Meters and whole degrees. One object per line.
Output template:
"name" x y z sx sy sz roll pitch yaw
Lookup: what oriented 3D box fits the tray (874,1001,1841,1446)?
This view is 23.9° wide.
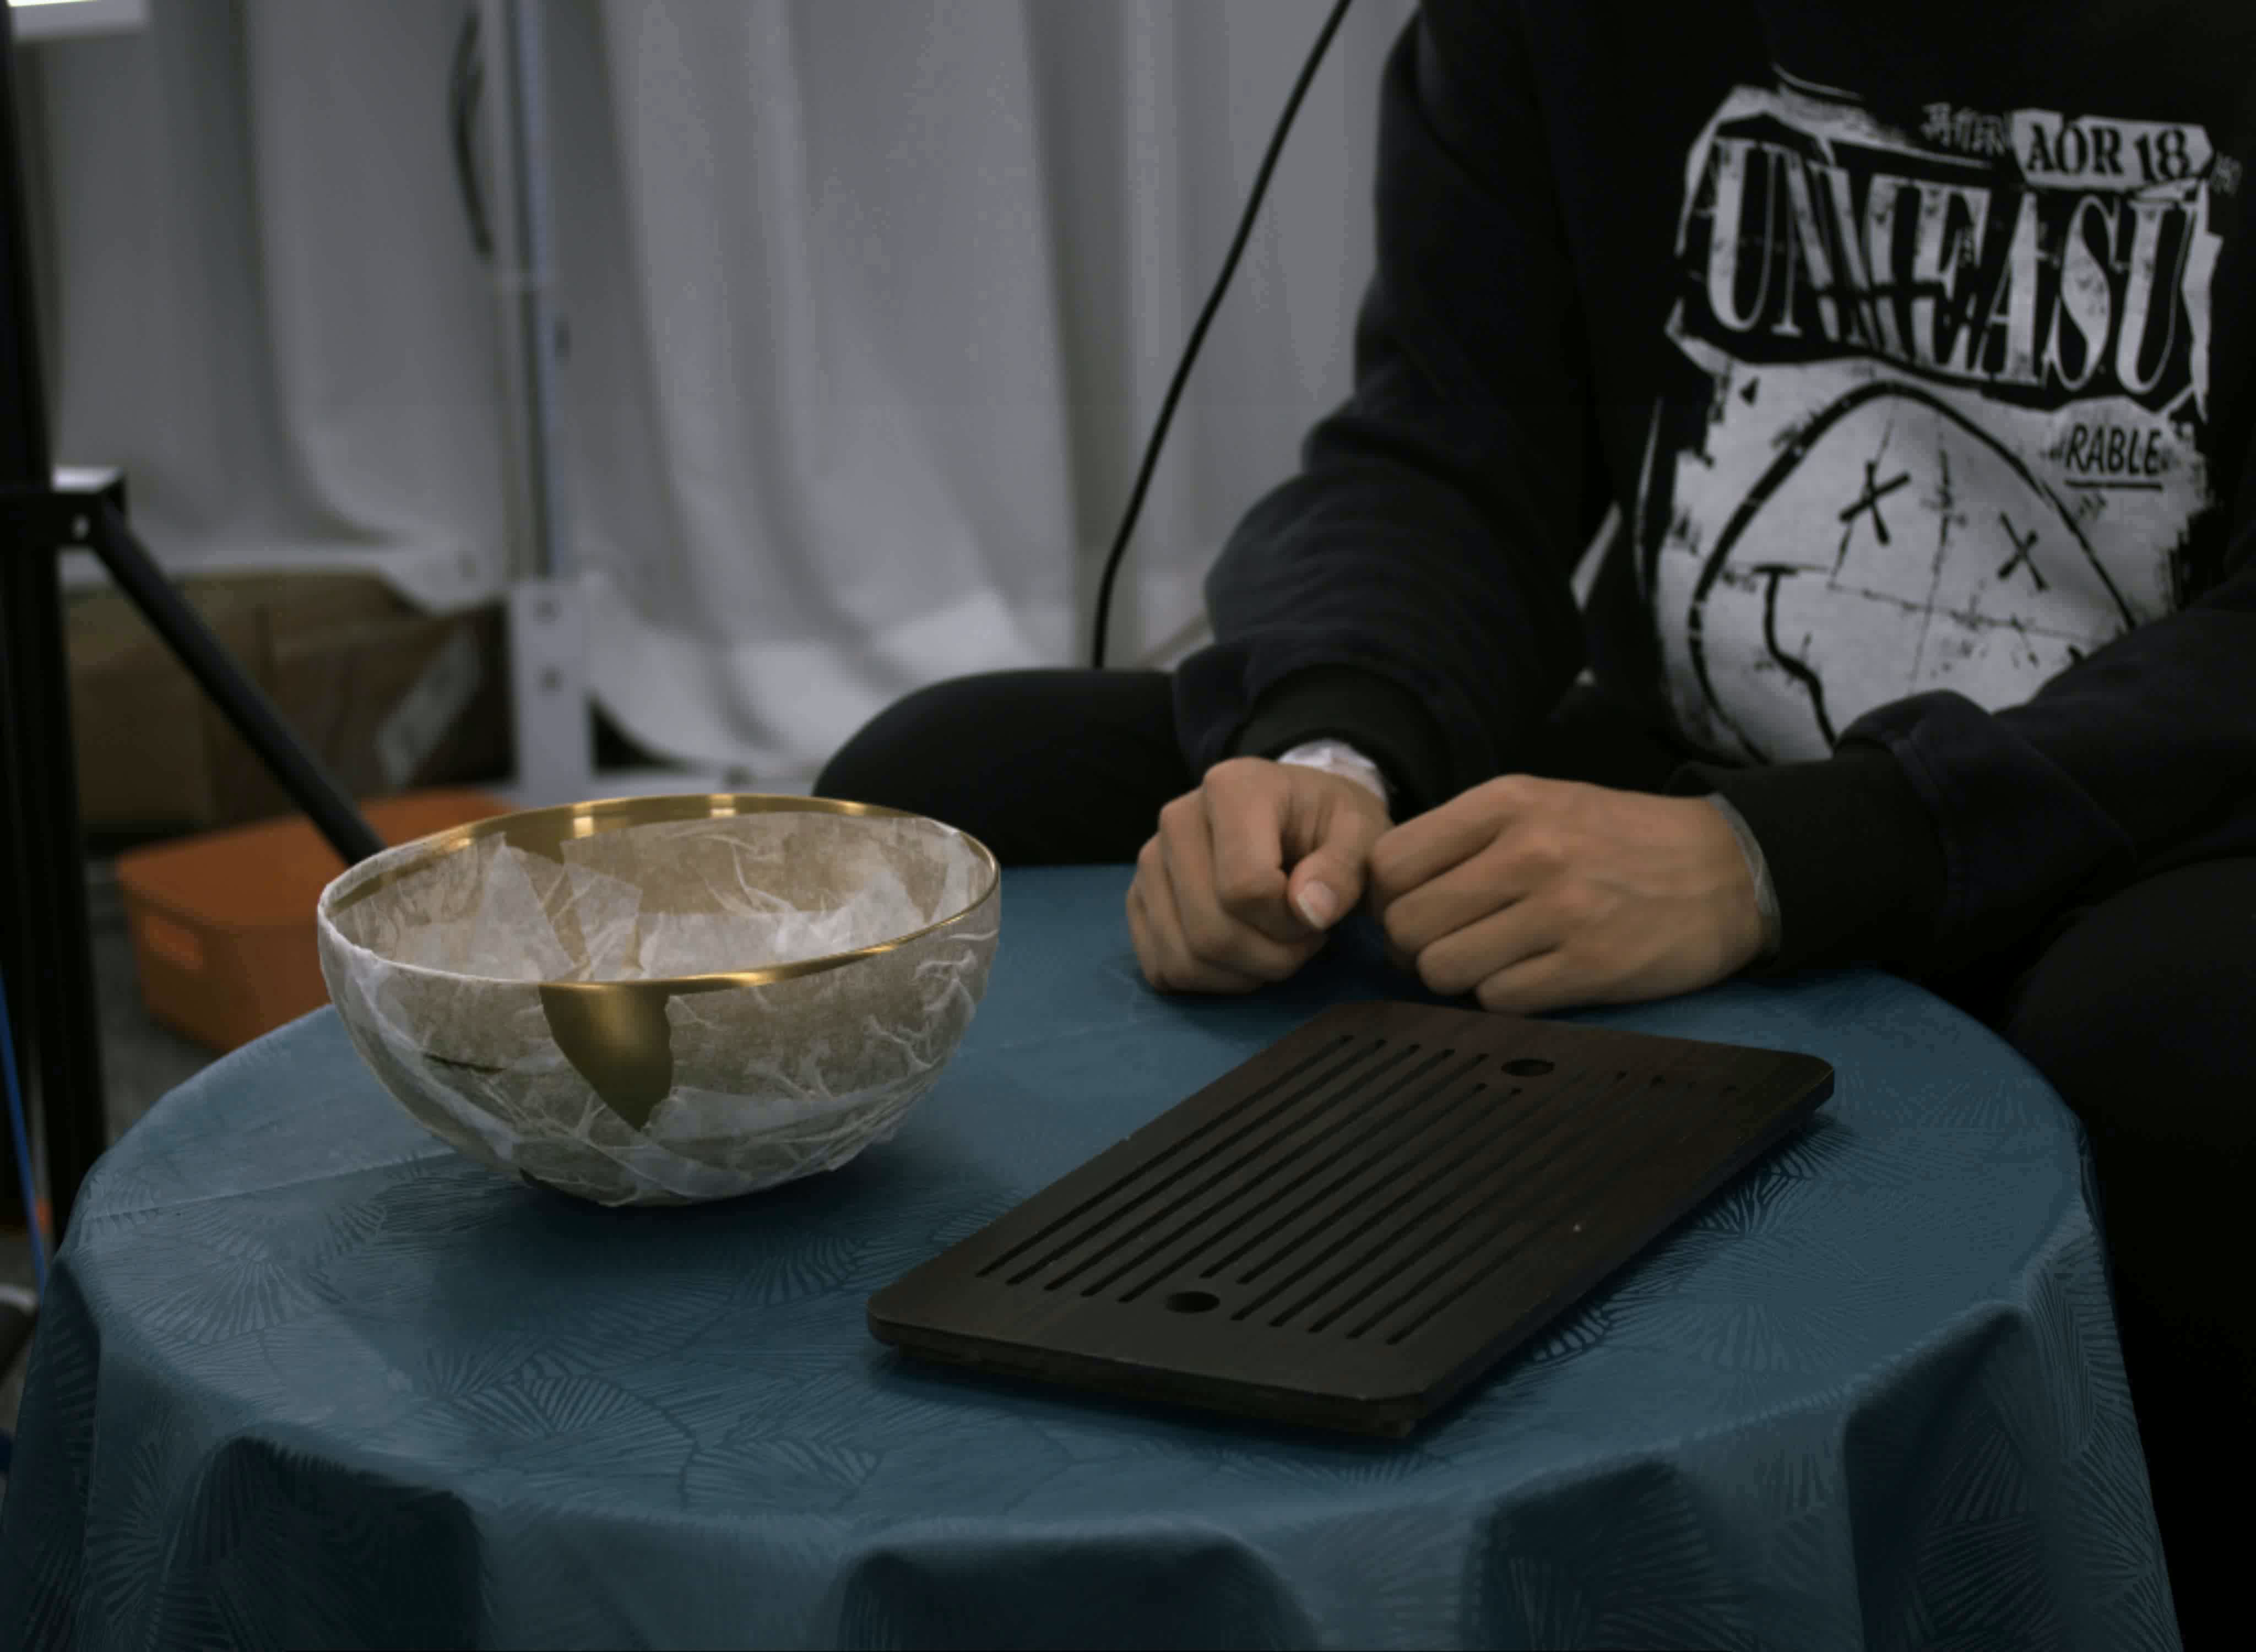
"tray" 0.073 0.109 1.509 0.173 0.018 0.300 6 18 29

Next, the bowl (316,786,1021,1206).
"bowl" -0.132 0.059 1.585 0.213 0.094 0.216 -3 14 -1
